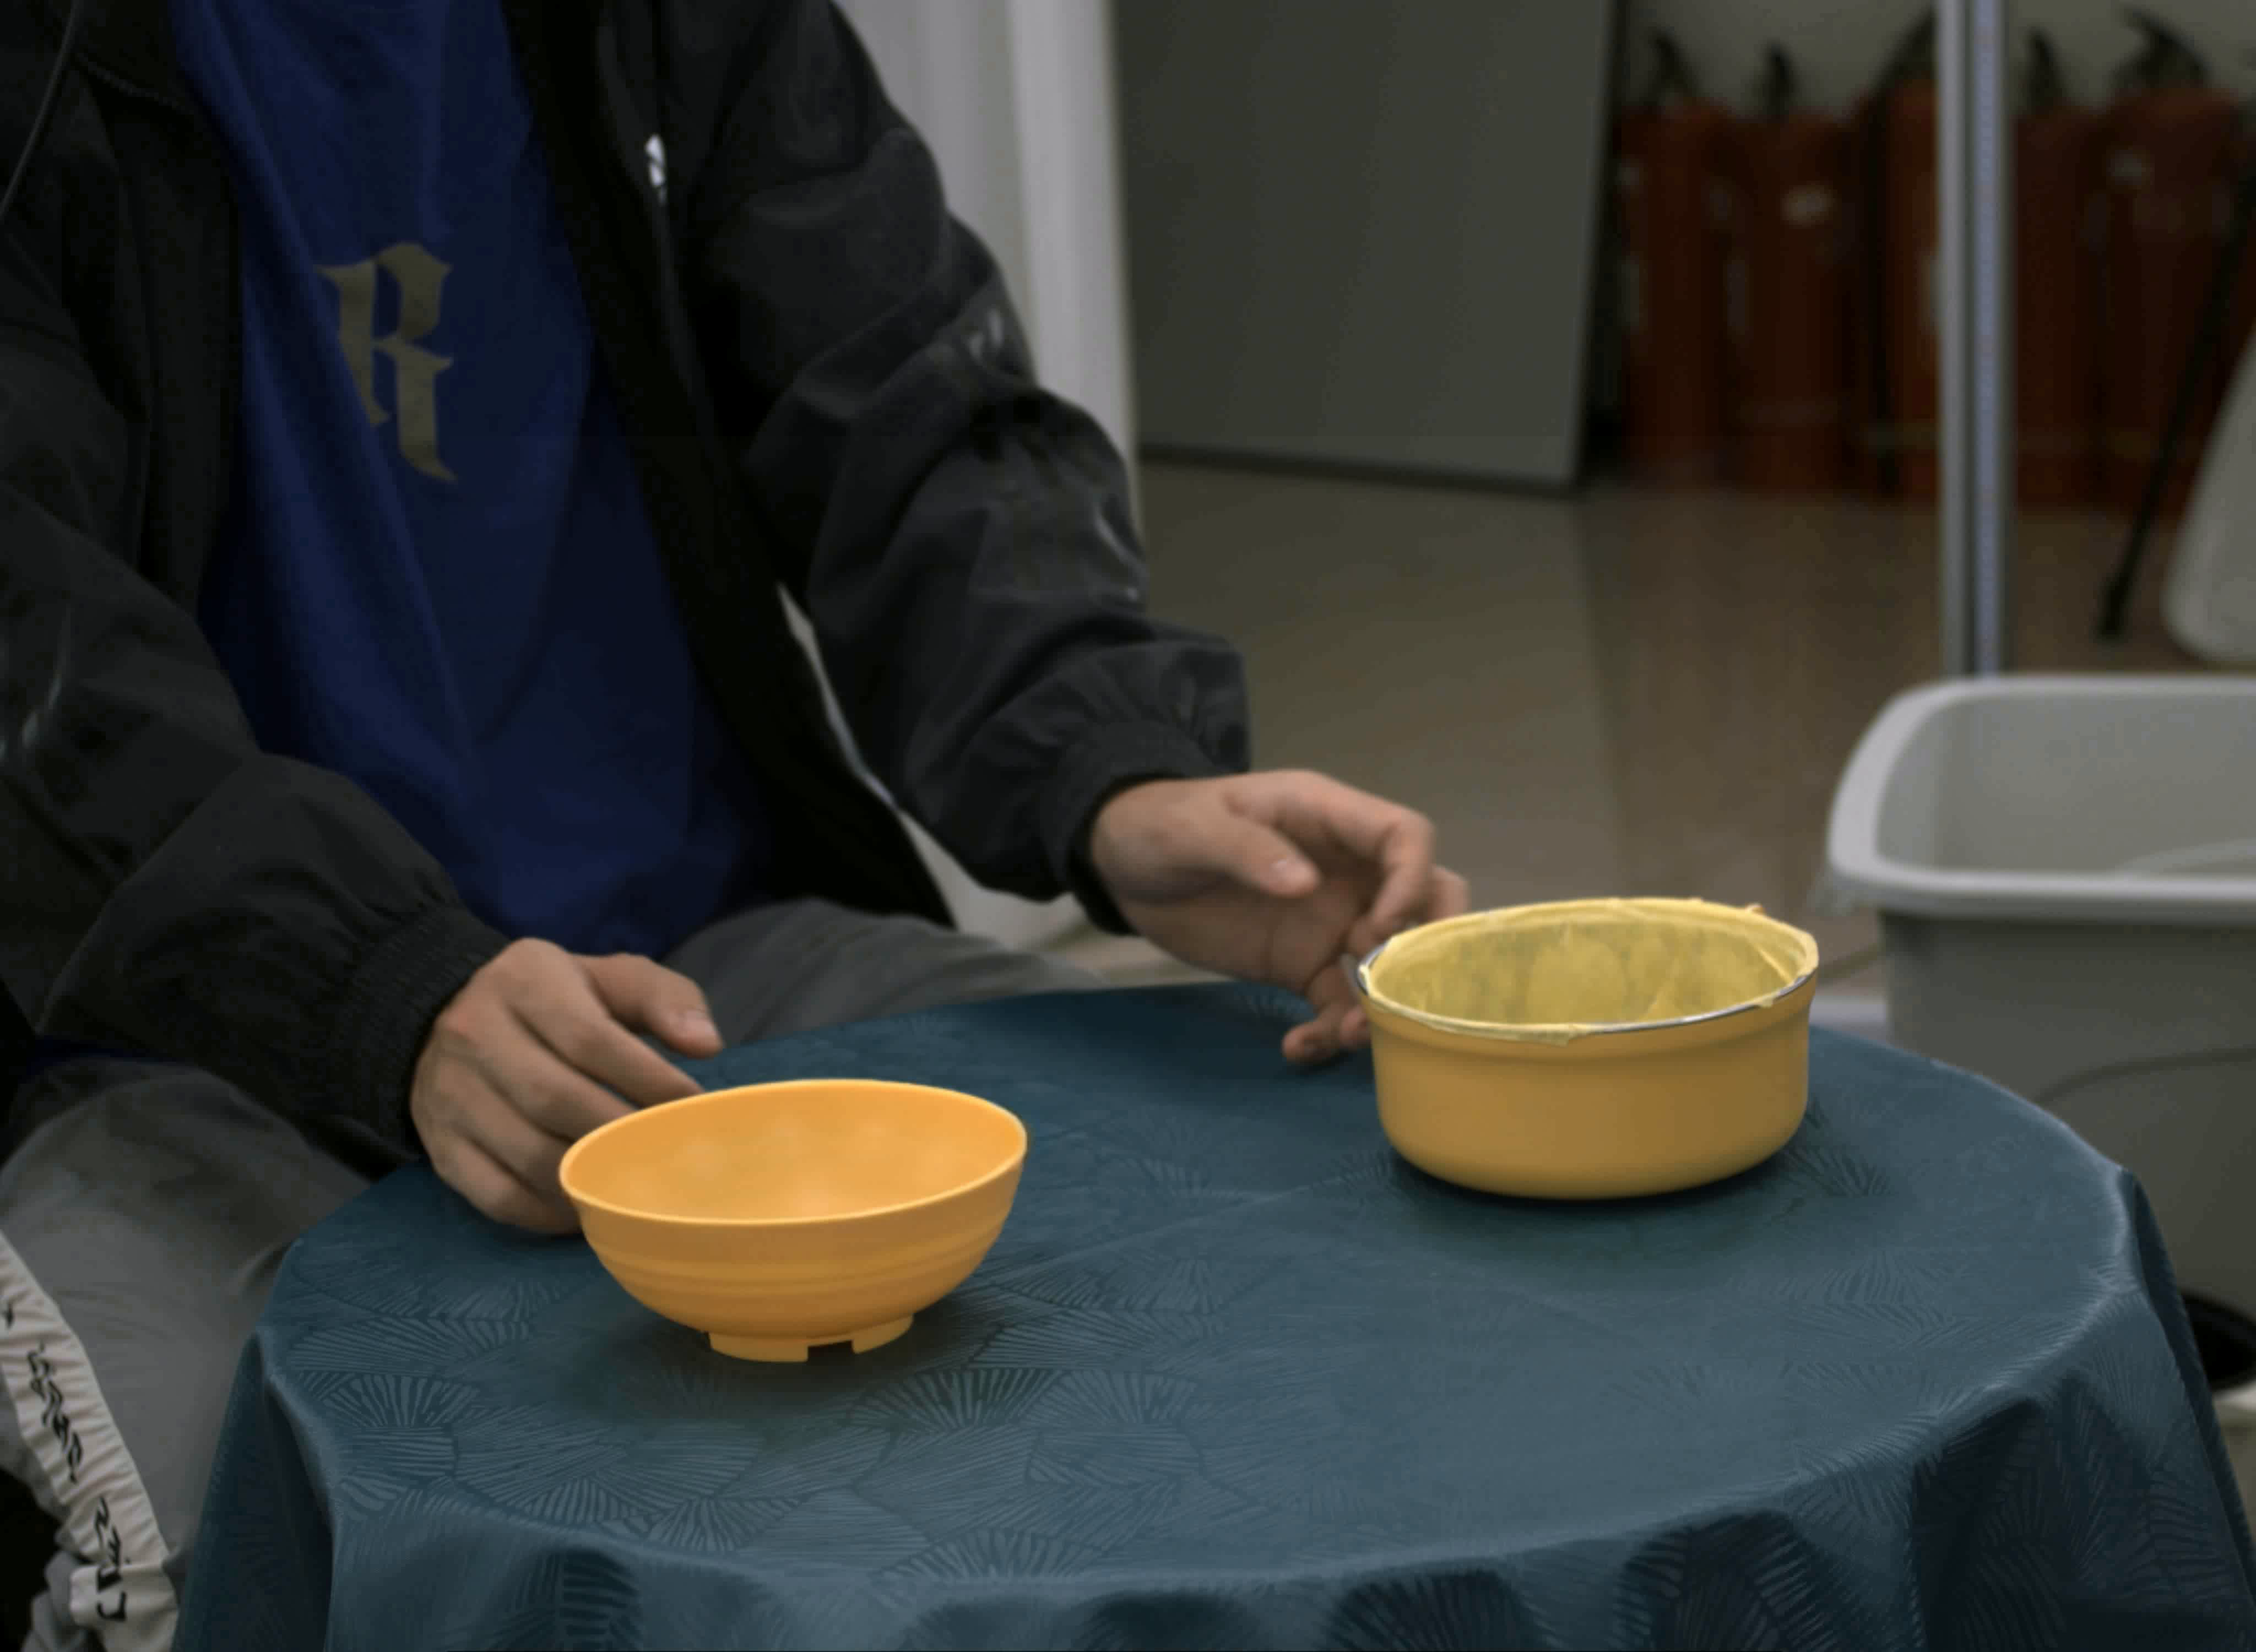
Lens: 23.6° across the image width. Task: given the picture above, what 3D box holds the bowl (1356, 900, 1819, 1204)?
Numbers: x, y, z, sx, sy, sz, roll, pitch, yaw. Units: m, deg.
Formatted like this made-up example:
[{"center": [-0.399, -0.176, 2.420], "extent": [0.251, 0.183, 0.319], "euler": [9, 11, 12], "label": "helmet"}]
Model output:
[{"center": [0.160, 0.072, 1.779], "extent": [0.153, 0.075, 0.176], "euler": [2, 16, 32], "label": "bowl"}]

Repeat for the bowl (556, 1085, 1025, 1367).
[{"center": [-0.102, 0.127, 1.655], "extent": [0.143, 0.061, 0.145], "euler": [-2, 13, -1], "label": "bowl"}]
